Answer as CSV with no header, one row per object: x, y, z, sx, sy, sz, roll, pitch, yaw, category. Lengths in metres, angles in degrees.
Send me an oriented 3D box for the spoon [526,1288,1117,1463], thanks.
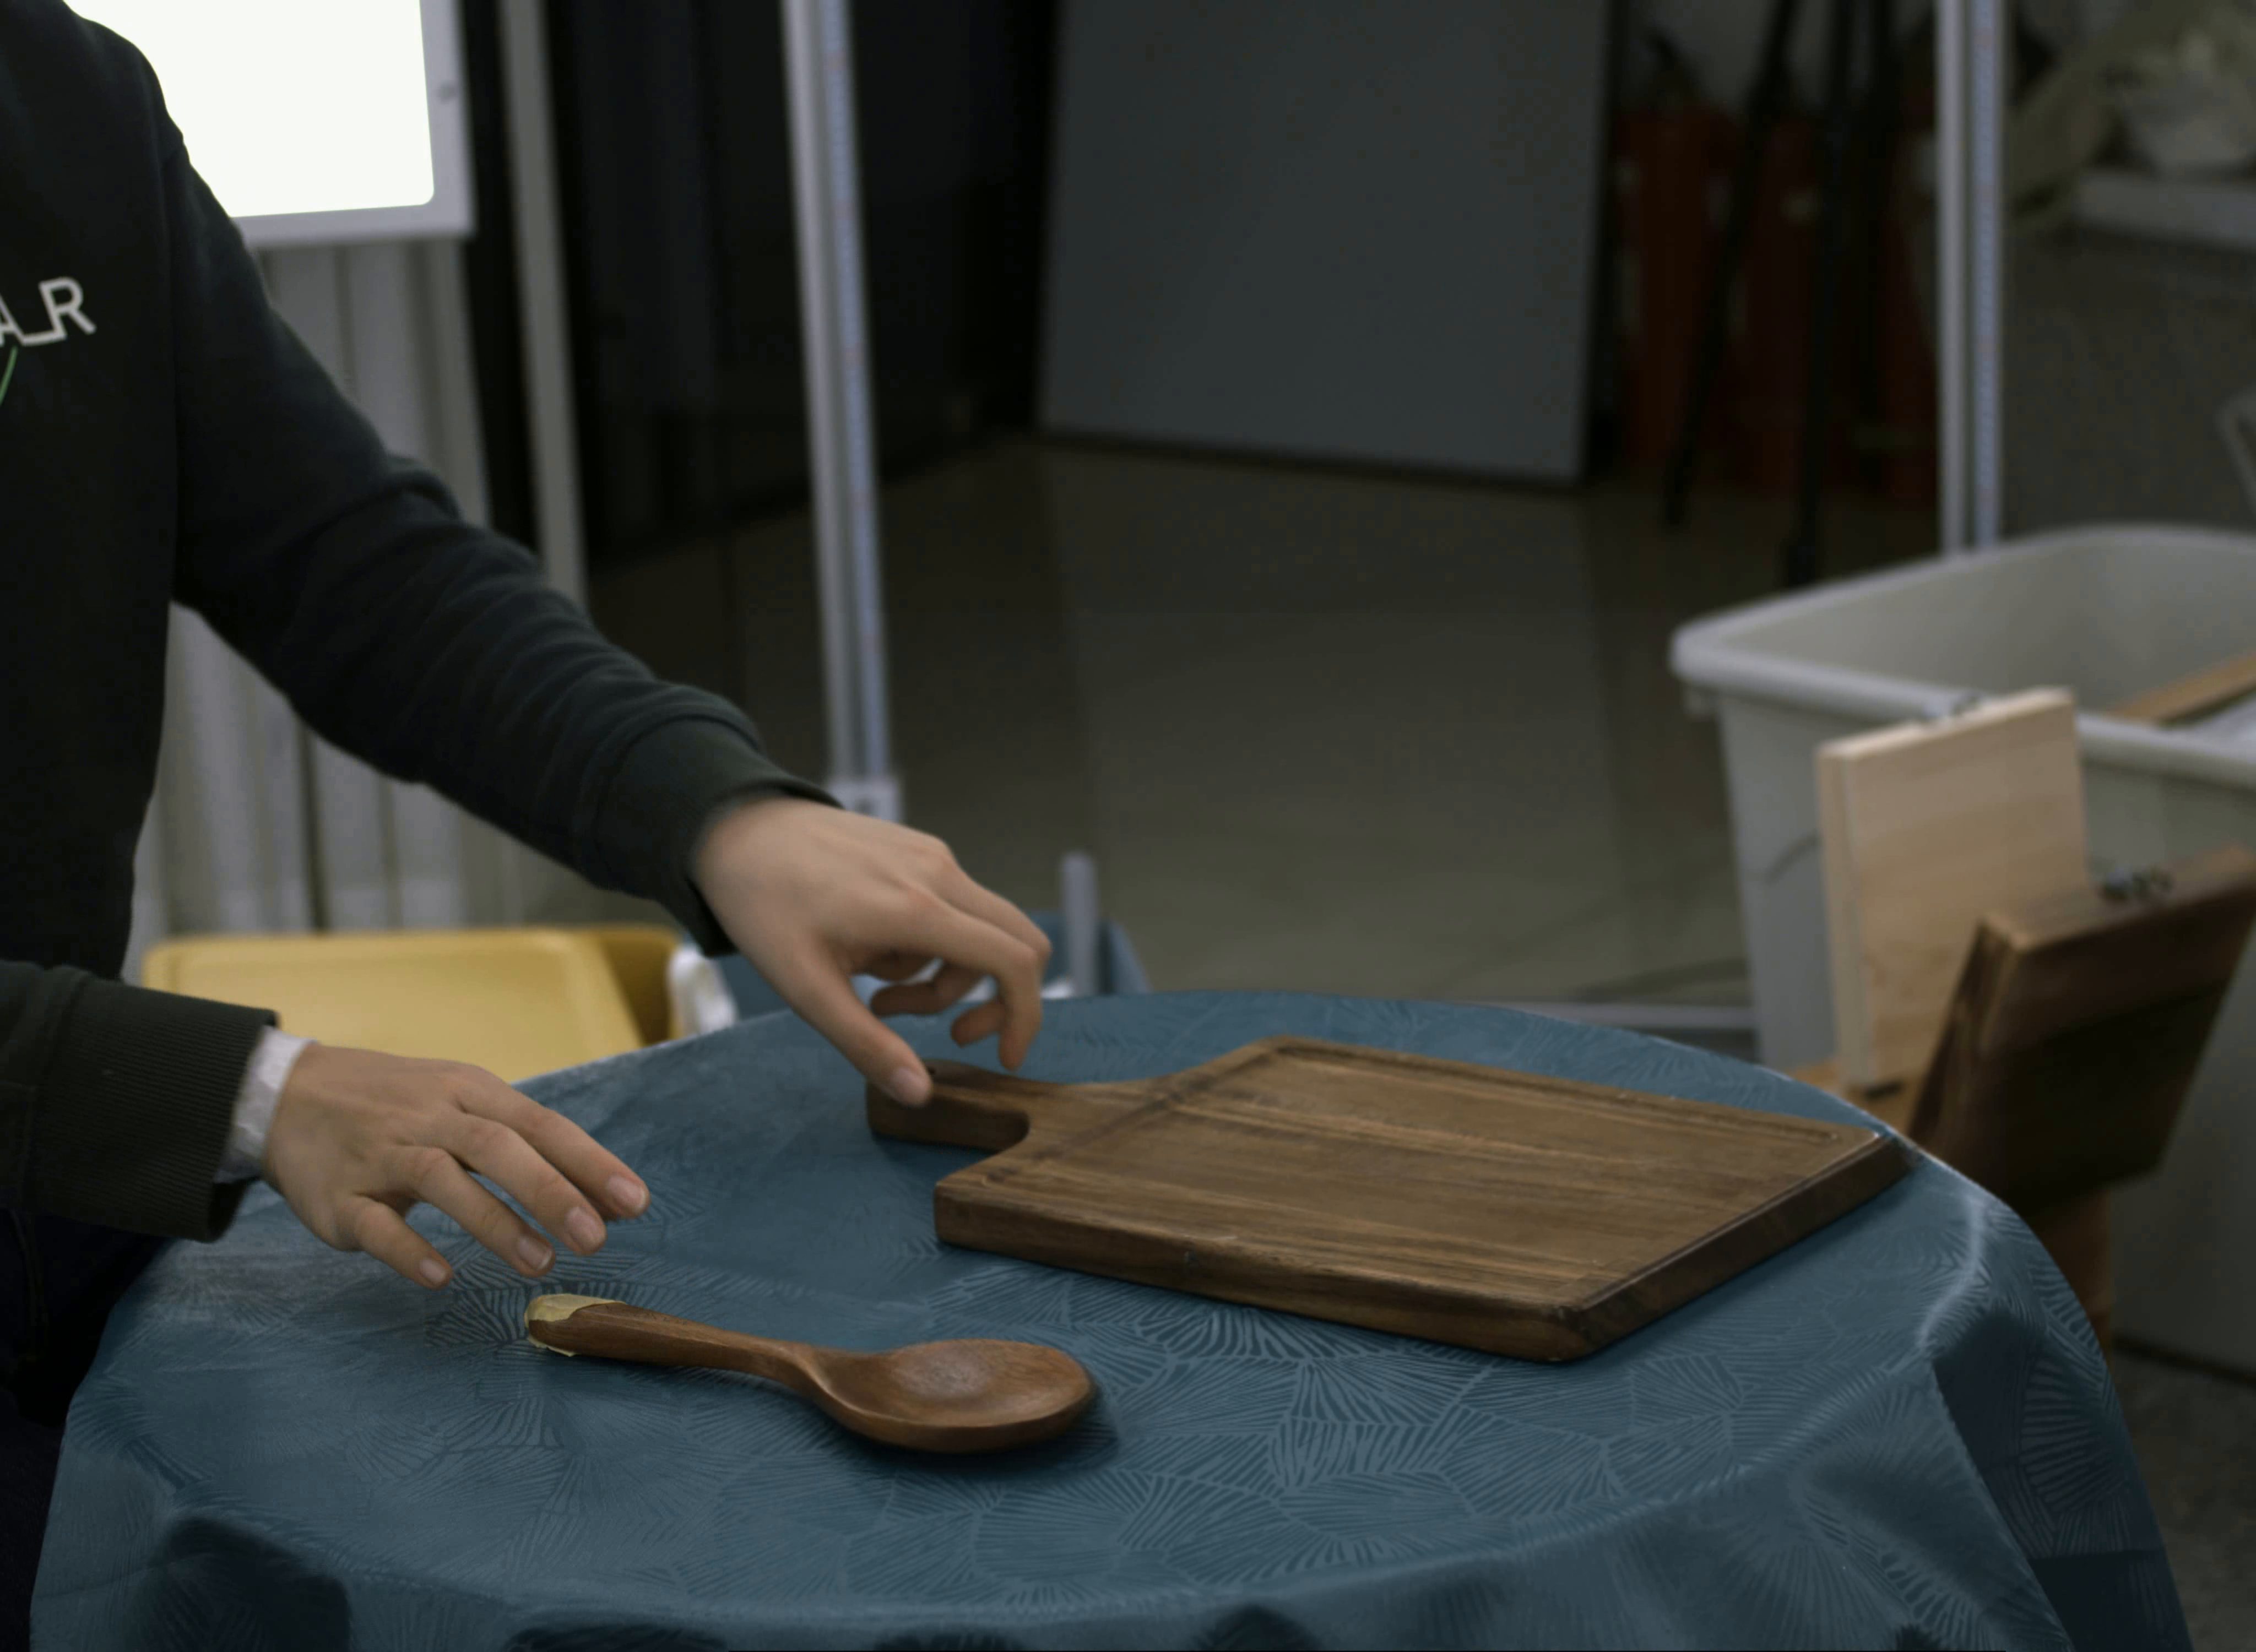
-0.095,0.161,1.600,0.217,0.017,0.074,8,20,37,spoon

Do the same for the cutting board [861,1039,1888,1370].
0.052,0.112,1.756,0.355,0.023,0.197,7,18,38,cutting board
